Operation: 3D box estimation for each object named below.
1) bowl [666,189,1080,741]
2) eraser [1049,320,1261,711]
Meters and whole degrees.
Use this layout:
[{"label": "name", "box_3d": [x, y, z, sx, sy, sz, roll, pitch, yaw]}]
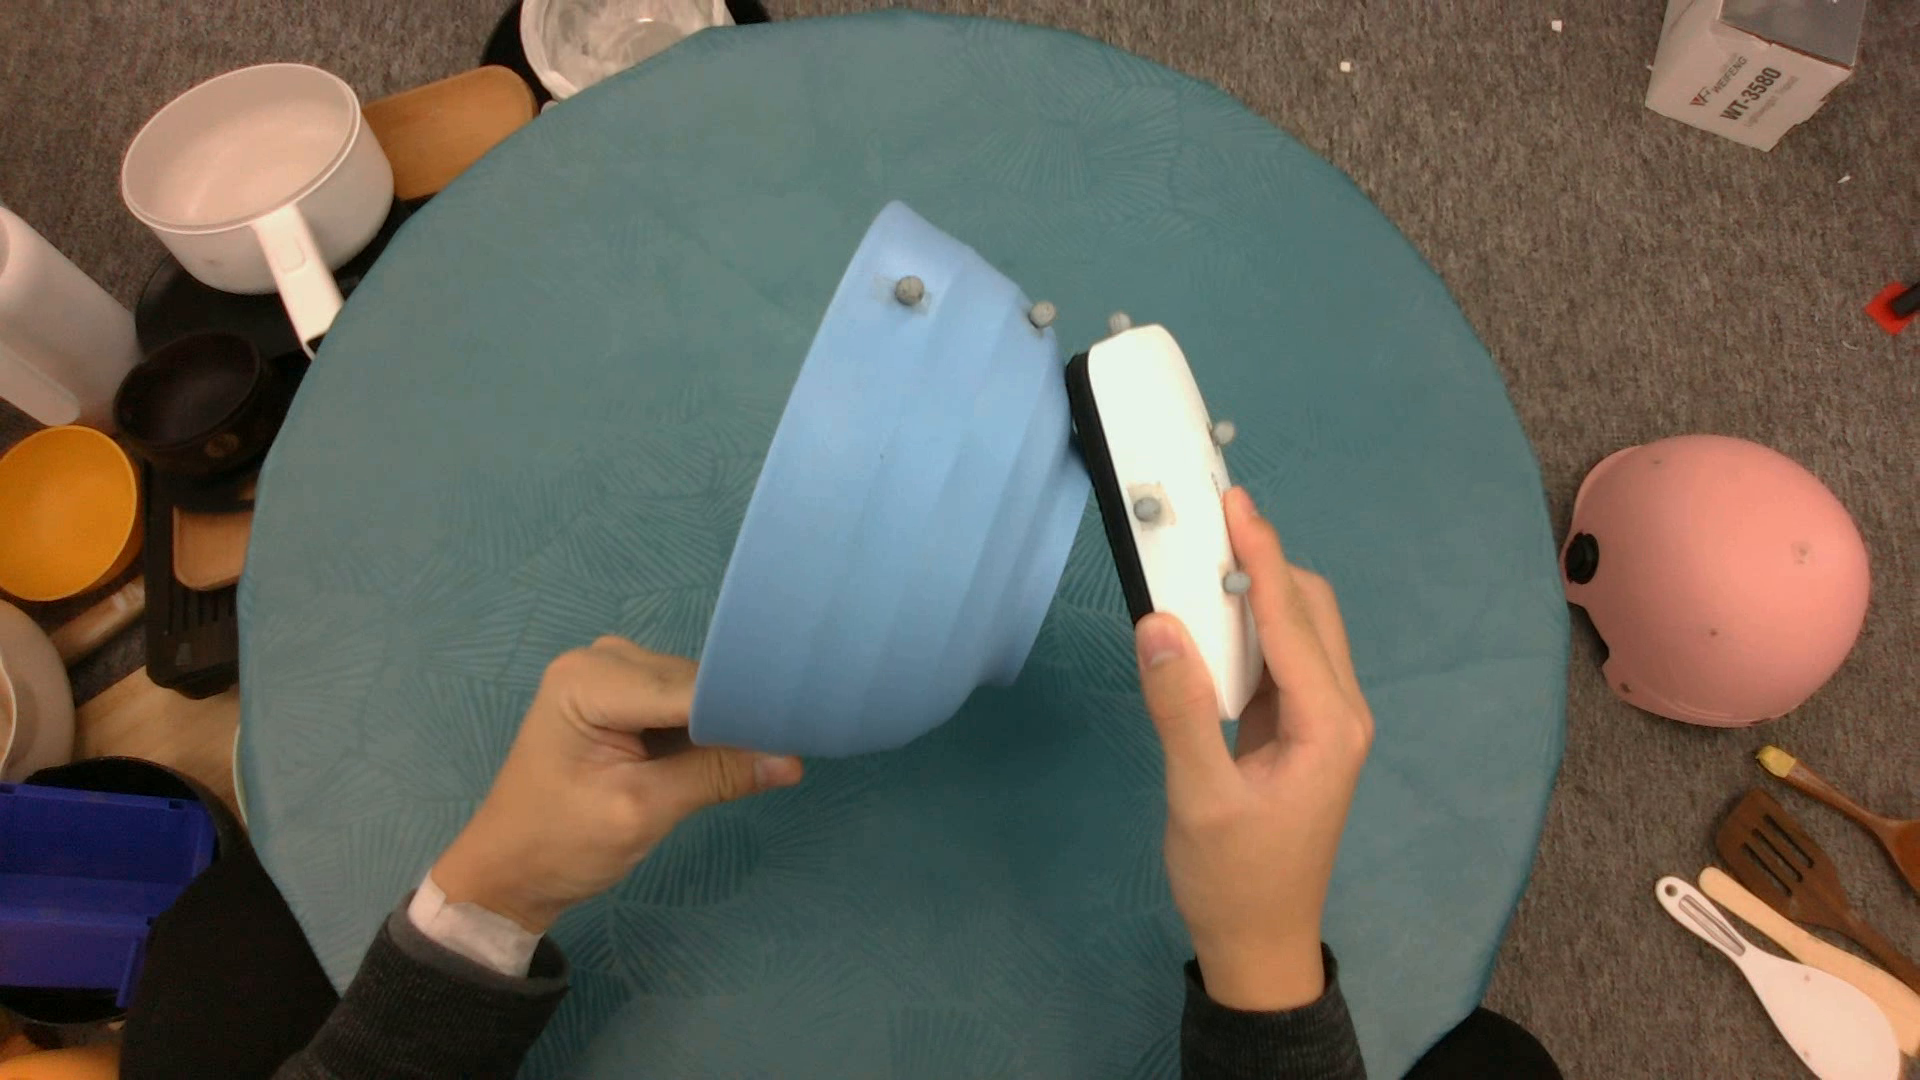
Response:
[{"label": "bowl", "box_3d": [-0.019, -0.011, 0.480, 0.095, 0.196, 0.197, 23, 72, -4]}, {"label": "eraser", "box_3d": [0.069, -0.008, 0.465, 0.034, 0.063, 0.131, -16, 94, 27]}]
